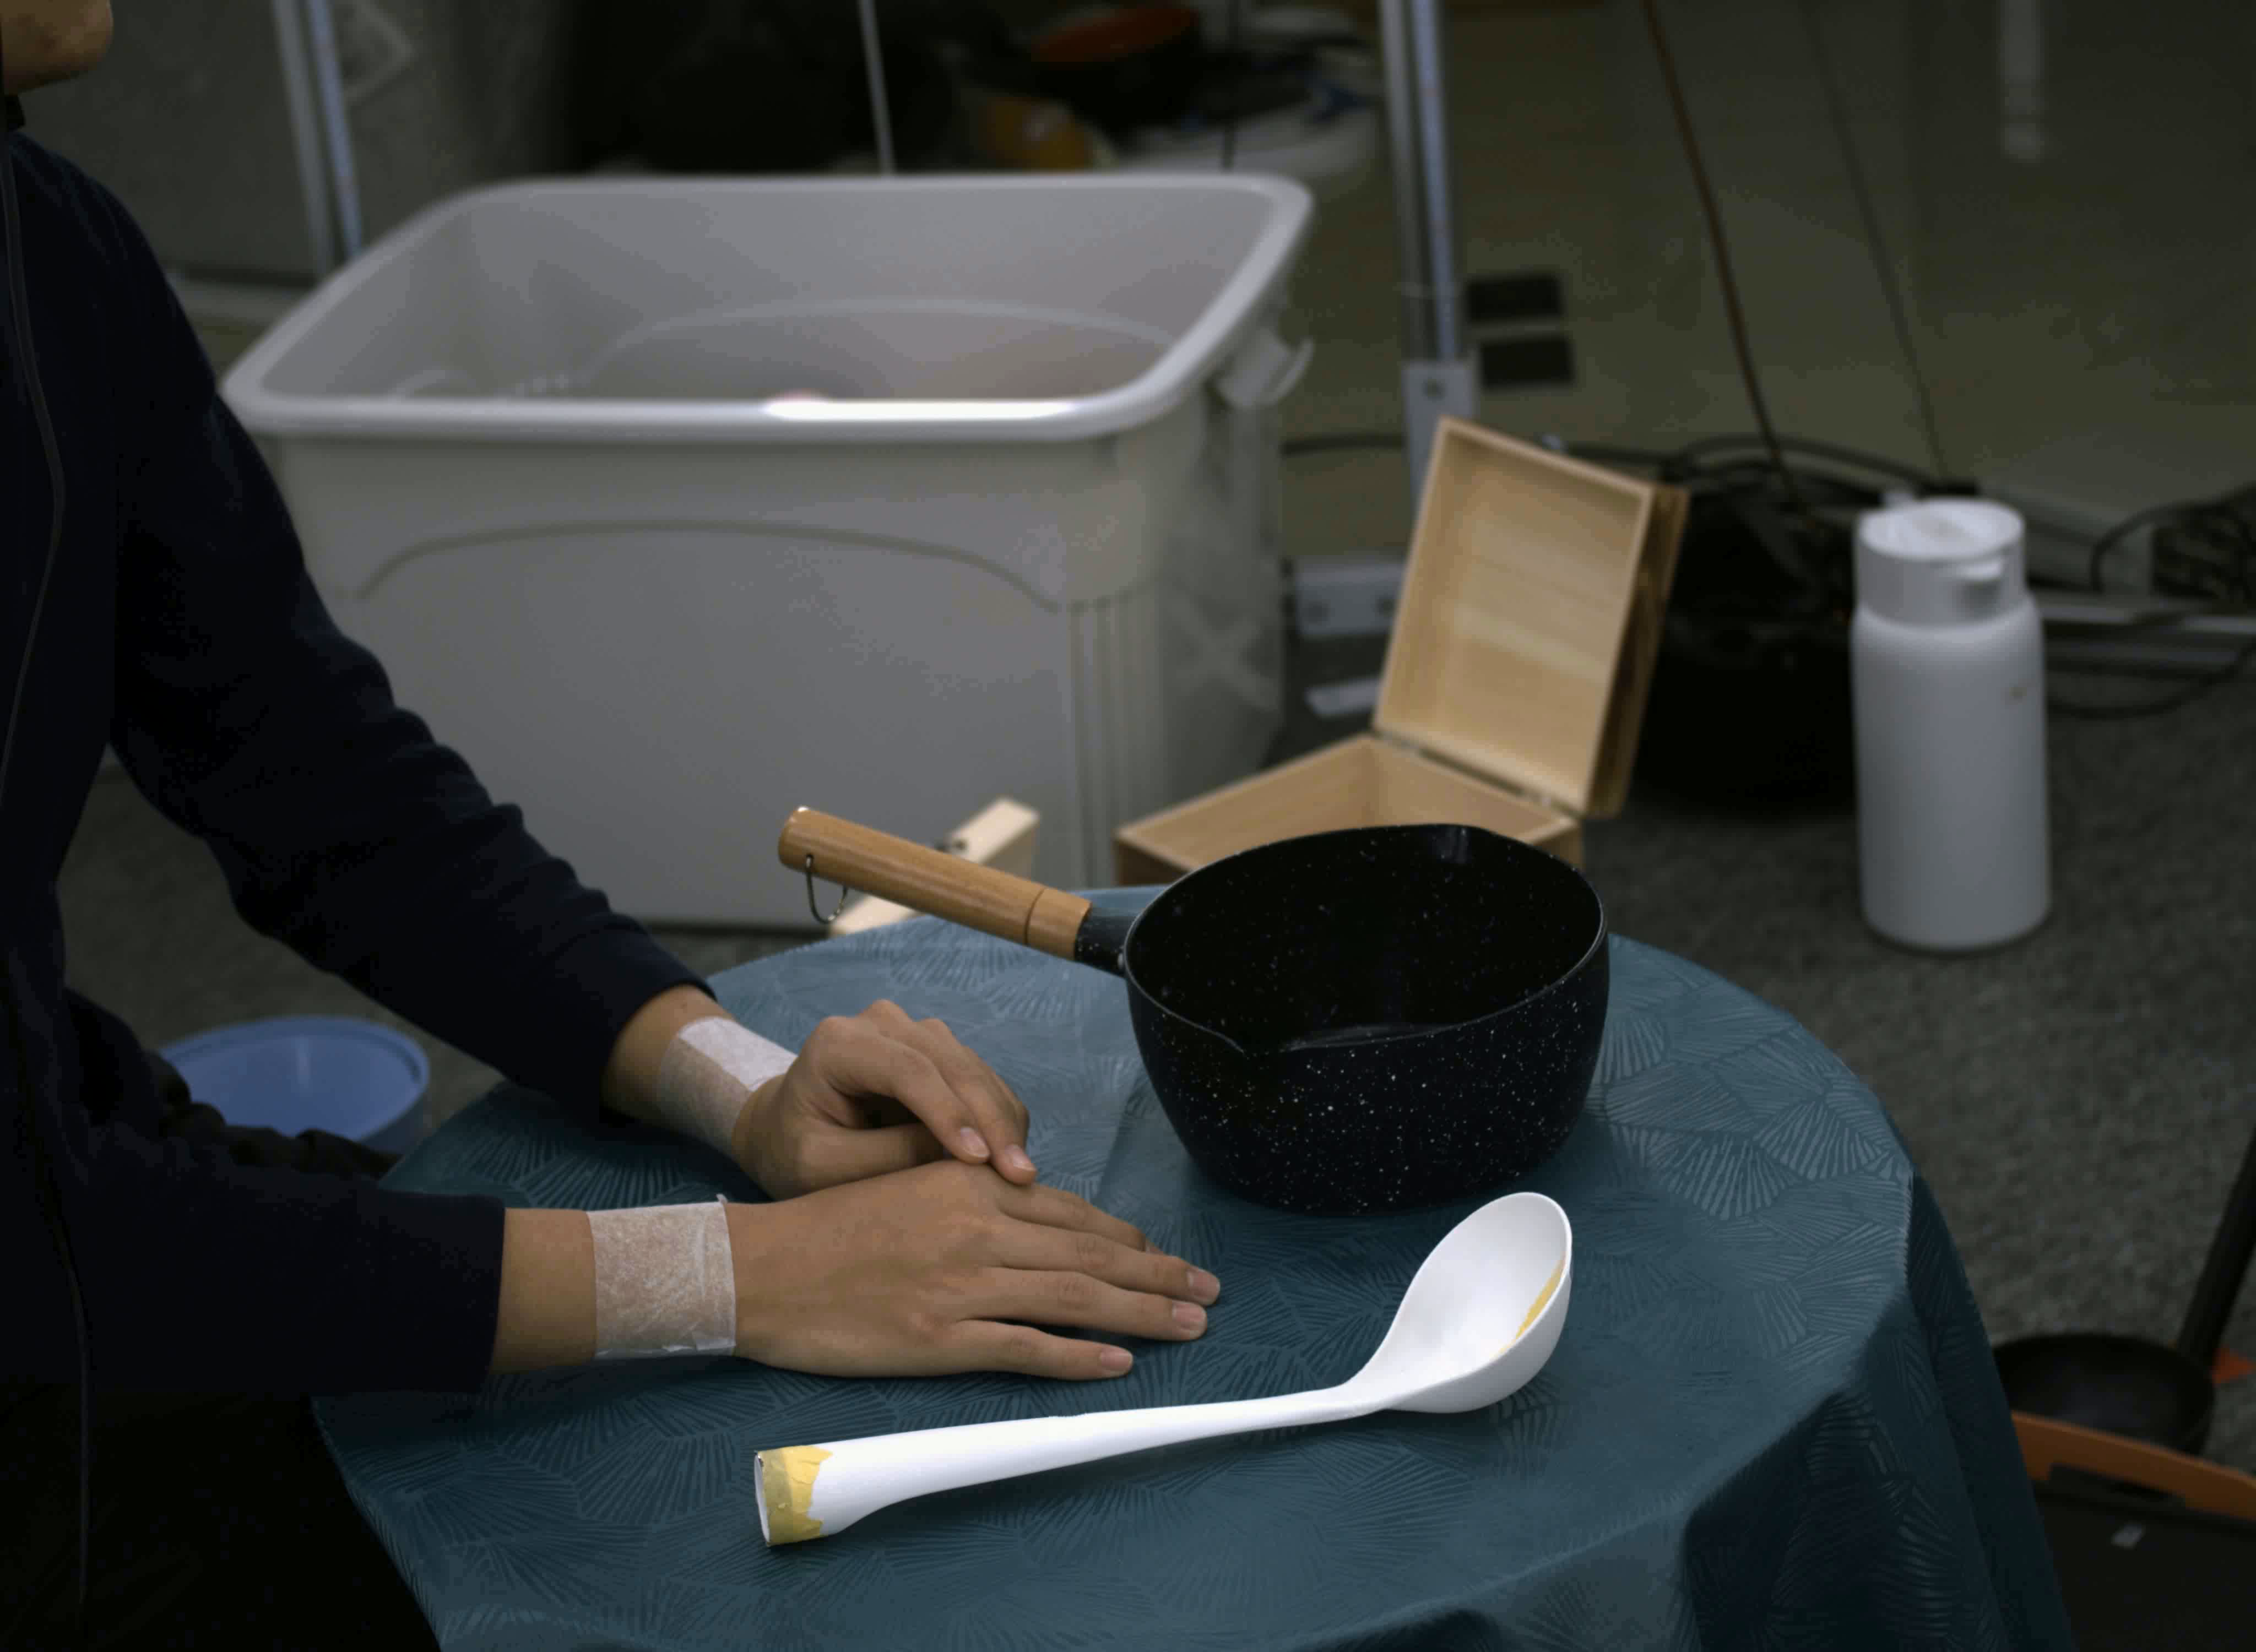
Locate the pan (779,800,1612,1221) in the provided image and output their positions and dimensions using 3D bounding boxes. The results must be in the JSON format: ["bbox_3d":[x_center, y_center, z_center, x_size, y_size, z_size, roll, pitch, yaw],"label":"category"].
[{"bbox_3d":[0.020,0.059,2.183,0.341,0.110,0.205,7,29,24],"label":"pan"}]

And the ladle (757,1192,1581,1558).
[{"bbox_3d":[0.014,0.193,1.951,0.292,0.071,0.089,-10,32,-7],"label":"ladle"}]
